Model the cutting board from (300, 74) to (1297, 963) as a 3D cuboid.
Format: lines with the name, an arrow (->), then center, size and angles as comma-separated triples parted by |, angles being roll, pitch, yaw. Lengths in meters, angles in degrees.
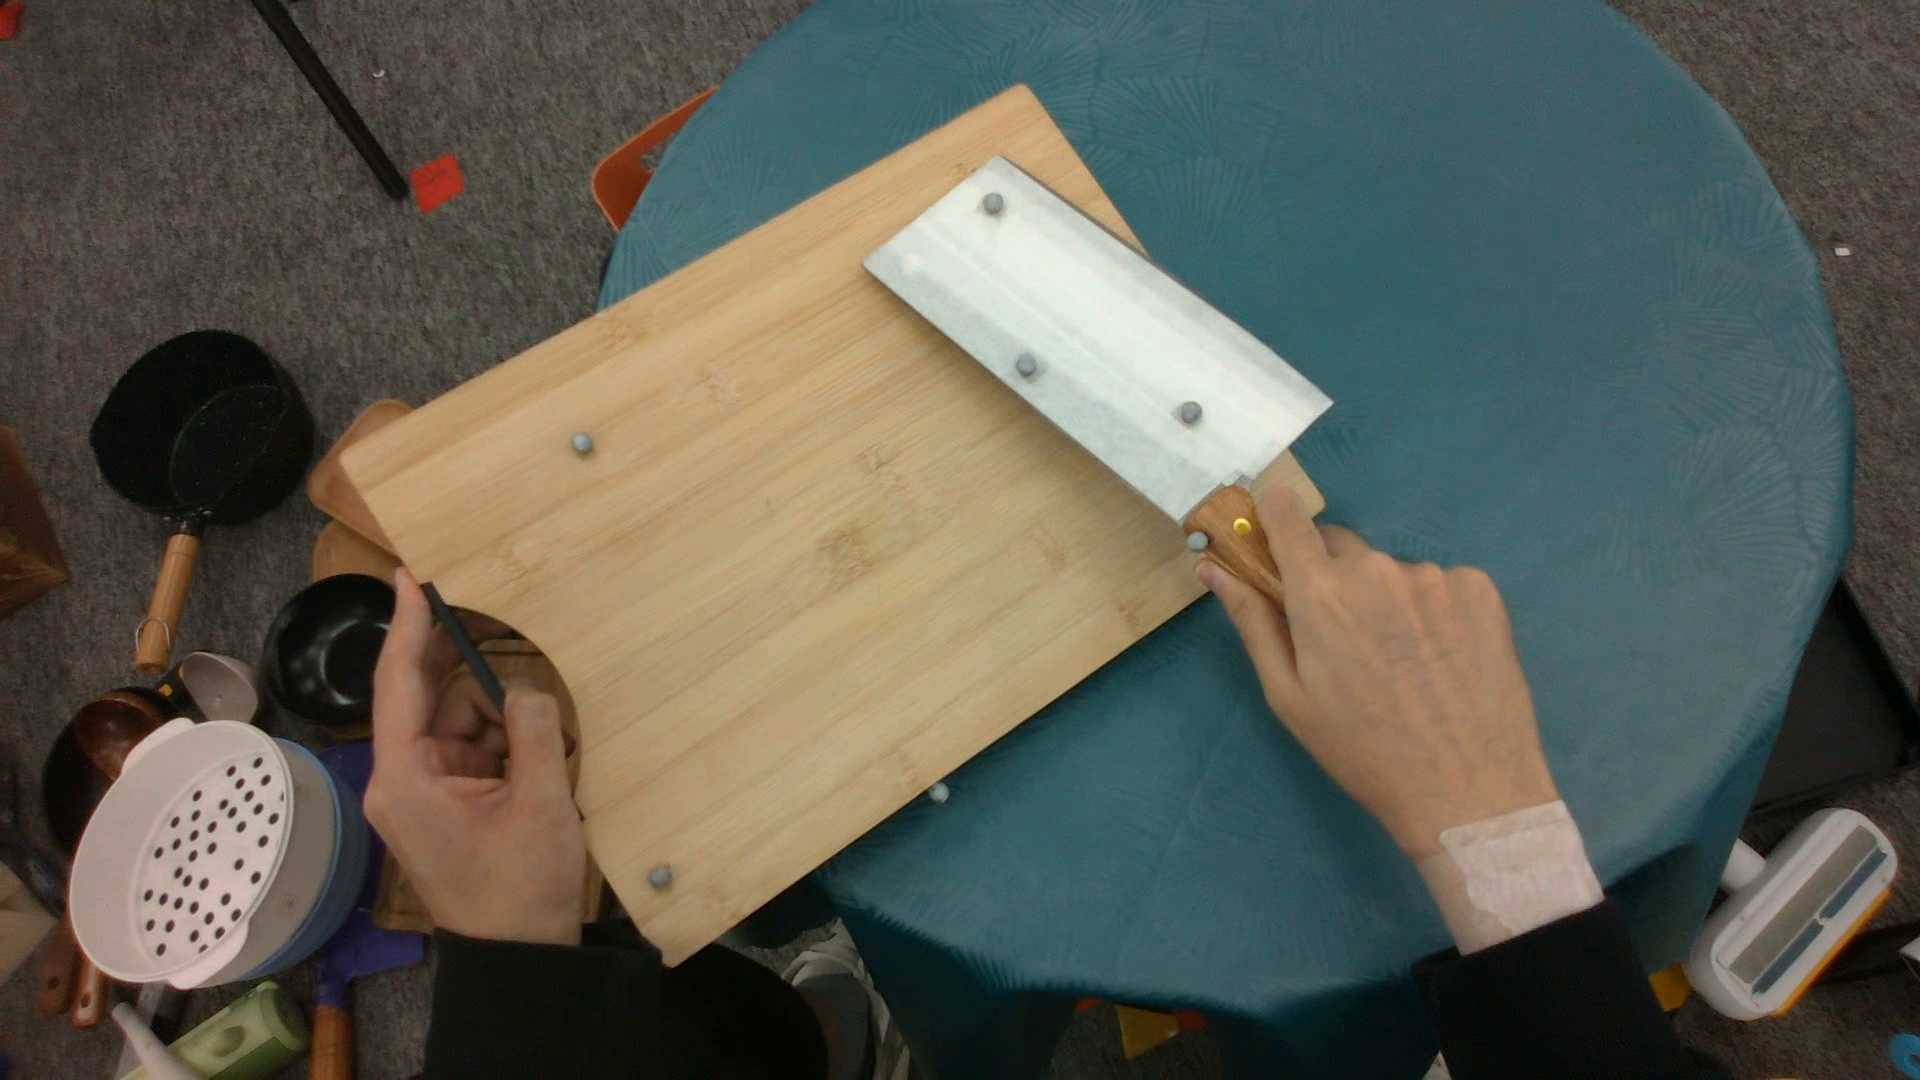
cutting board -> -0.053, -0.026, 0.586 | 0.349, 0.023, 0.251 | -34, 84, -17

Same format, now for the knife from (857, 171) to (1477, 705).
knife -> 0.092, -0.057, 0.568 | 0.306, 0.021, 0.093 | 40, 72, 17
